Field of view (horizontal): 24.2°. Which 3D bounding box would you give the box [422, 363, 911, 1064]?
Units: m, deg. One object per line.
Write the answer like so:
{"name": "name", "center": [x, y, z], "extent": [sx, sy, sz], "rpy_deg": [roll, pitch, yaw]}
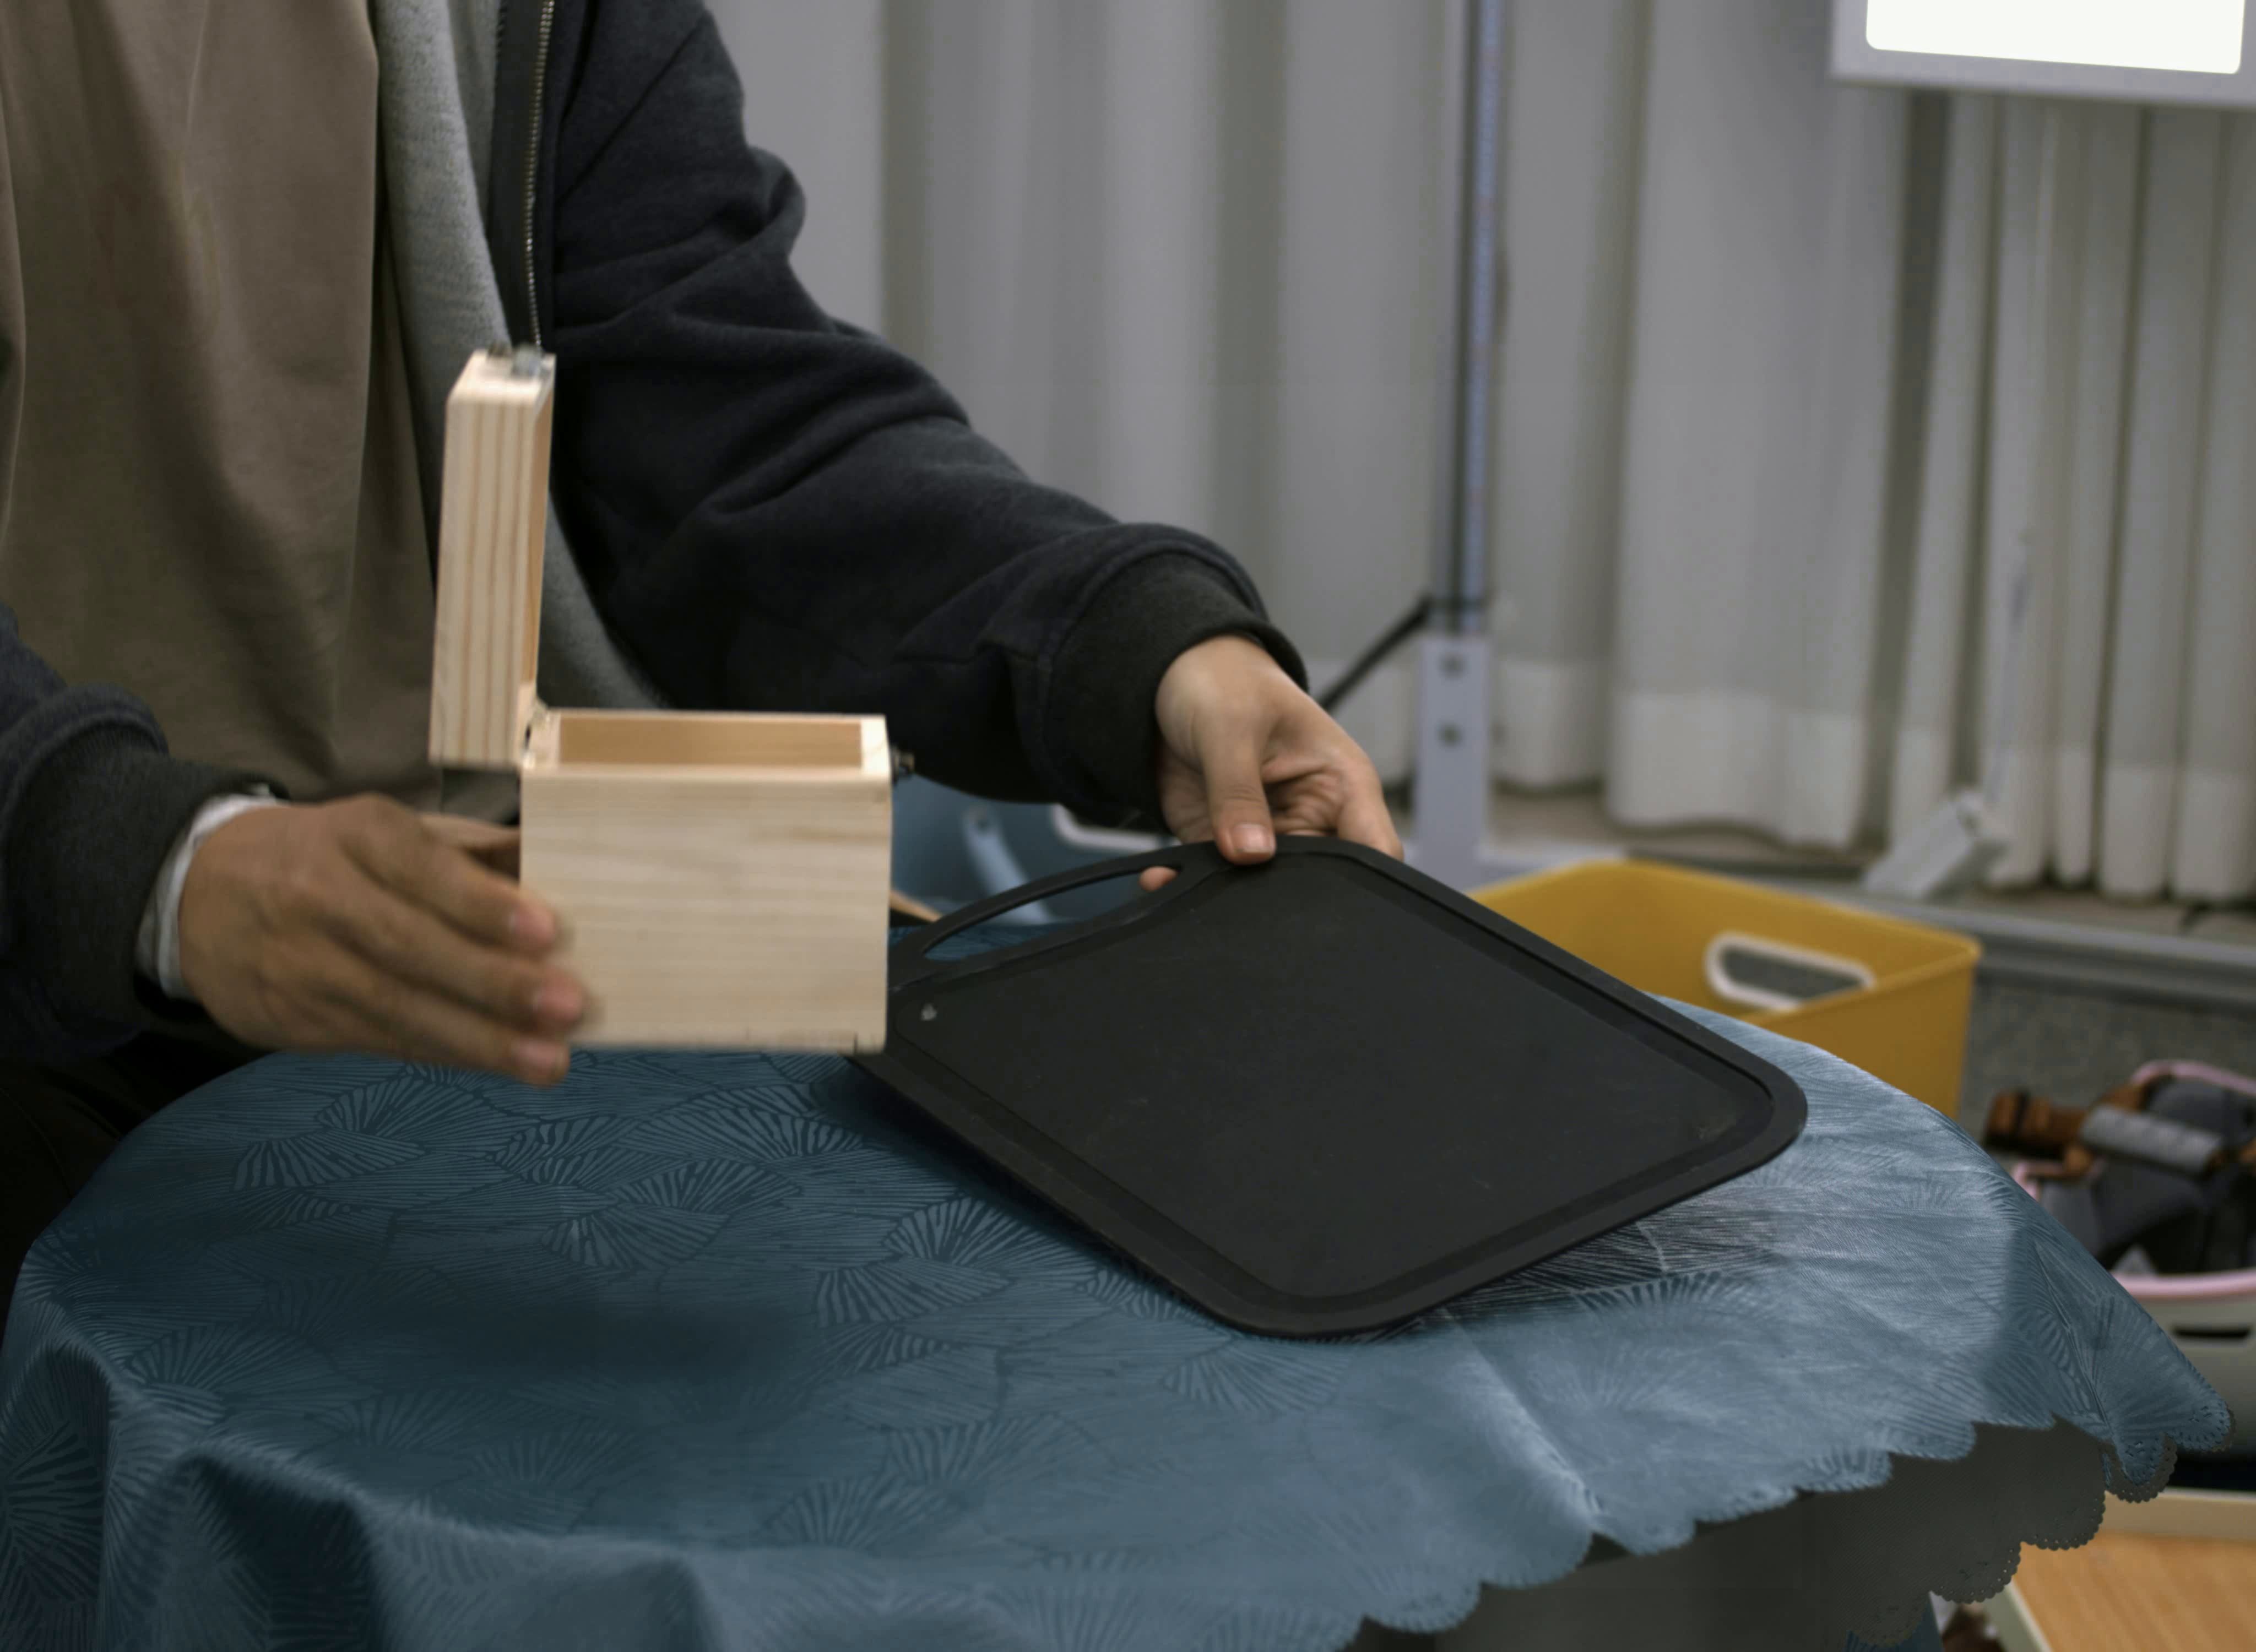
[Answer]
{"name": "box", "center": [-0.127, -0.034, 1.464], "extent": [0.134, 0.186, 0.102], "rpy_deg": [-1, 12, -5]}

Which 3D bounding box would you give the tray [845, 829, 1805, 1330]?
{"name": "tray", "center": [0.048, 0.070, 1.654], "extent": [0.211, 0.010, 0.321], "rpy_deg": [-20, 29, -26]}
